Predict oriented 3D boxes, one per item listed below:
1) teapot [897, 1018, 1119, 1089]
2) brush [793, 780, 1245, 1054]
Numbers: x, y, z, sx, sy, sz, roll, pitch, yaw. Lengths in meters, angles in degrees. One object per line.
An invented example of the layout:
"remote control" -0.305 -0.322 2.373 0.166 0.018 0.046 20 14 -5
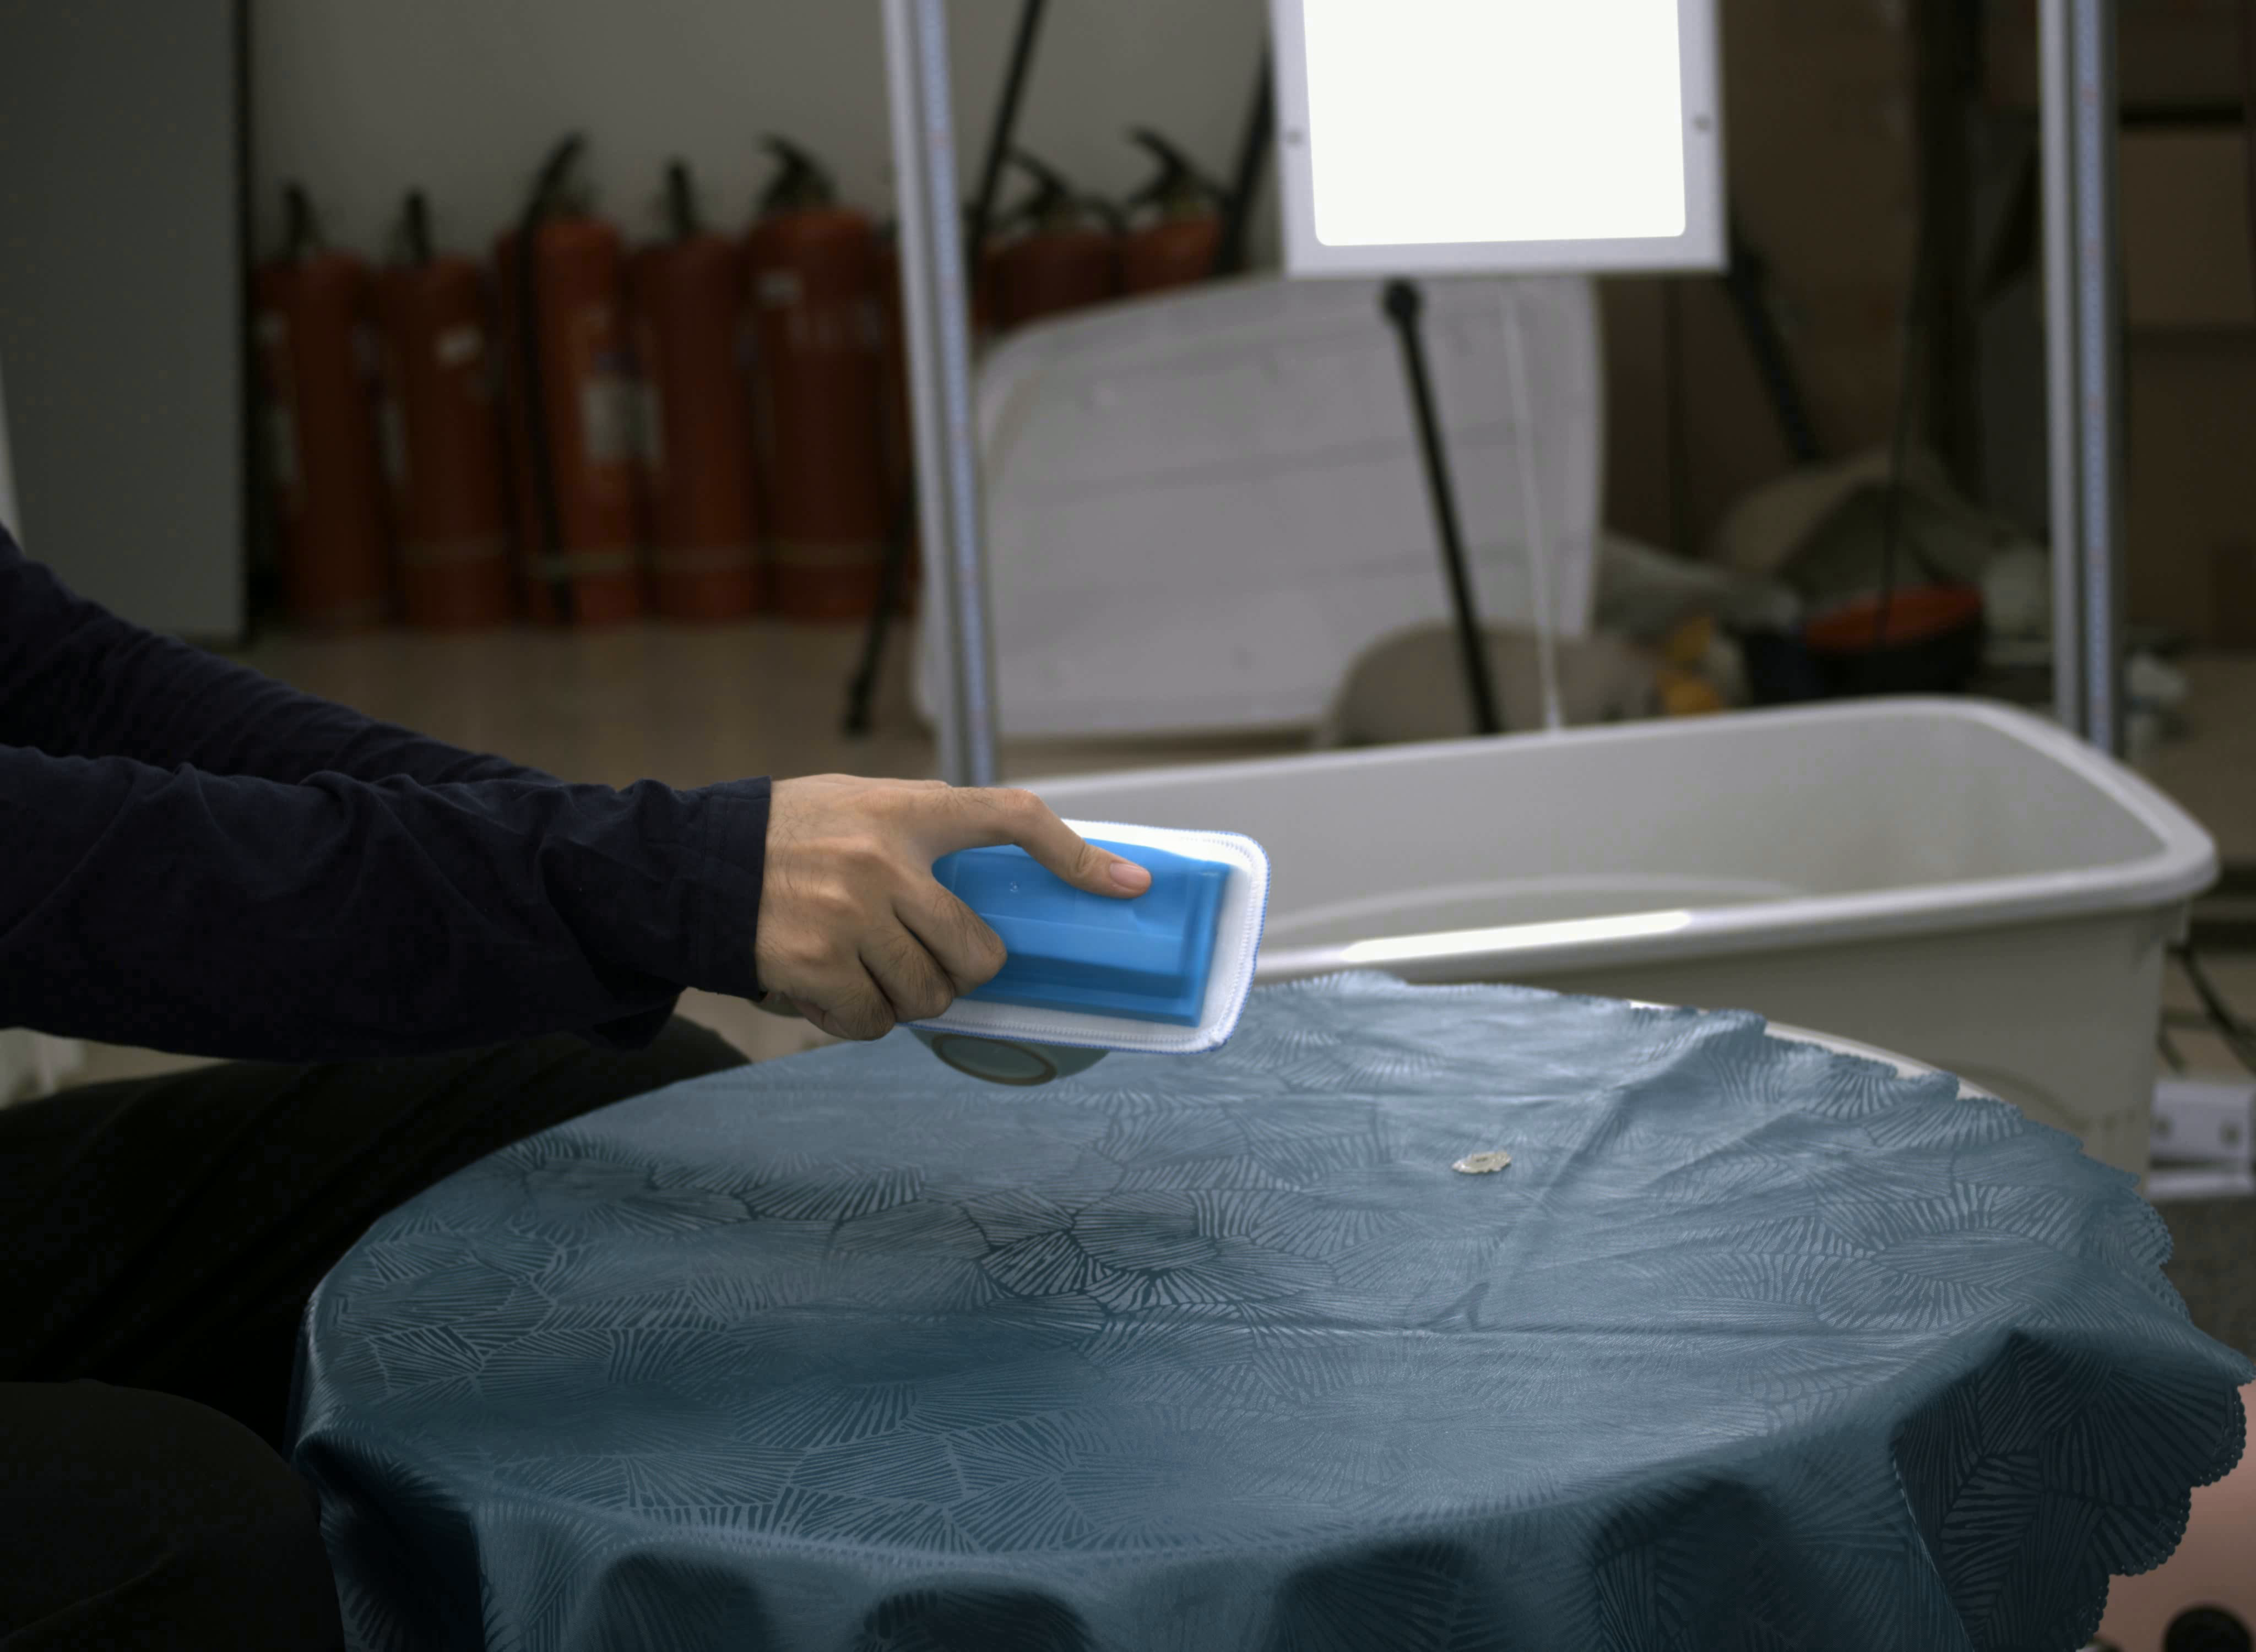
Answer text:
"teapot" -0.039 0.047 1.867 0.147 0.074 0.087 3 -24 34
"brush" -0.037 0.025 1.798 0.145 0.083 0.056 9 -24 14
